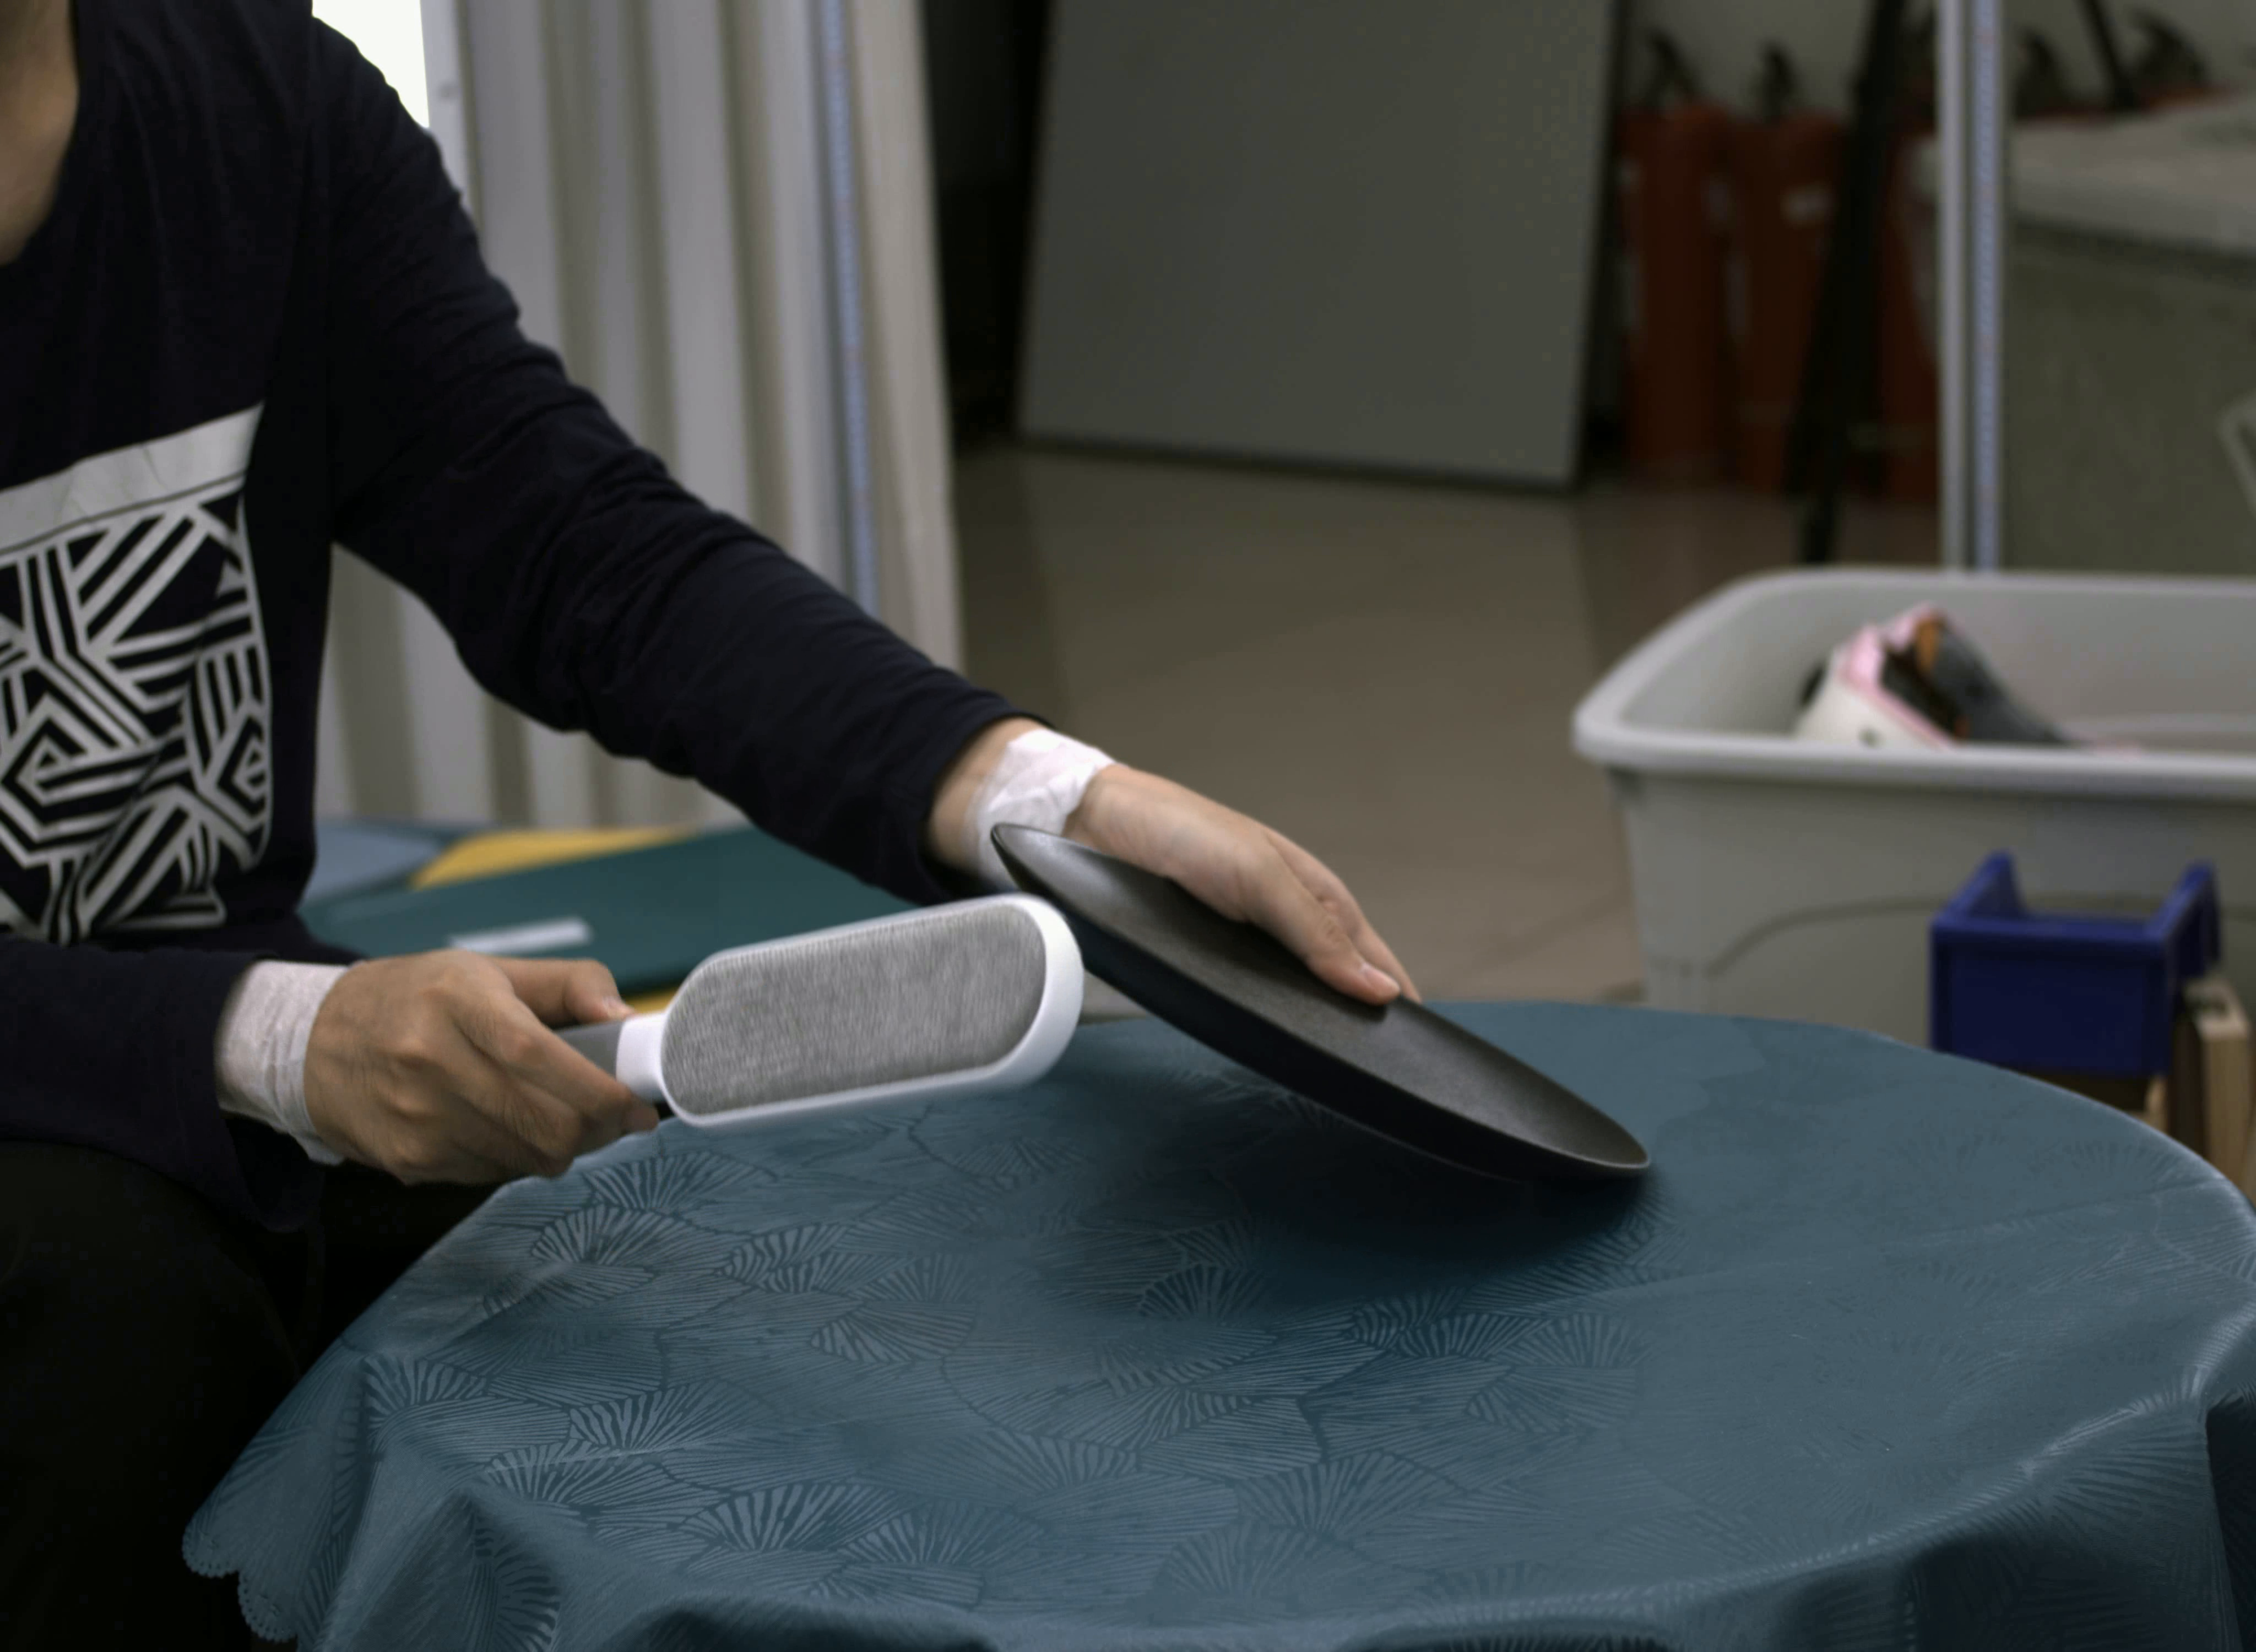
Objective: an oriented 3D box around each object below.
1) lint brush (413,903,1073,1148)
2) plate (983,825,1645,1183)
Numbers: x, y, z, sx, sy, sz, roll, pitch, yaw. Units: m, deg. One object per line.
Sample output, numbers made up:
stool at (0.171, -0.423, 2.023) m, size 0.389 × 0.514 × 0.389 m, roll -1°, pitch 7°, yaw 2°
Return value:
lint brush at (-0.122, 0.068, 1.638) m, size 0.020 × 0.061 × 0.312 m, roll 13°, pitch -17°, yaw -40°
plate at (0.057, 0.064, 1.754) m, size 0.242 × 0.023 × 0.244 m, roll 26°, pitch 6°, yaw -4°
